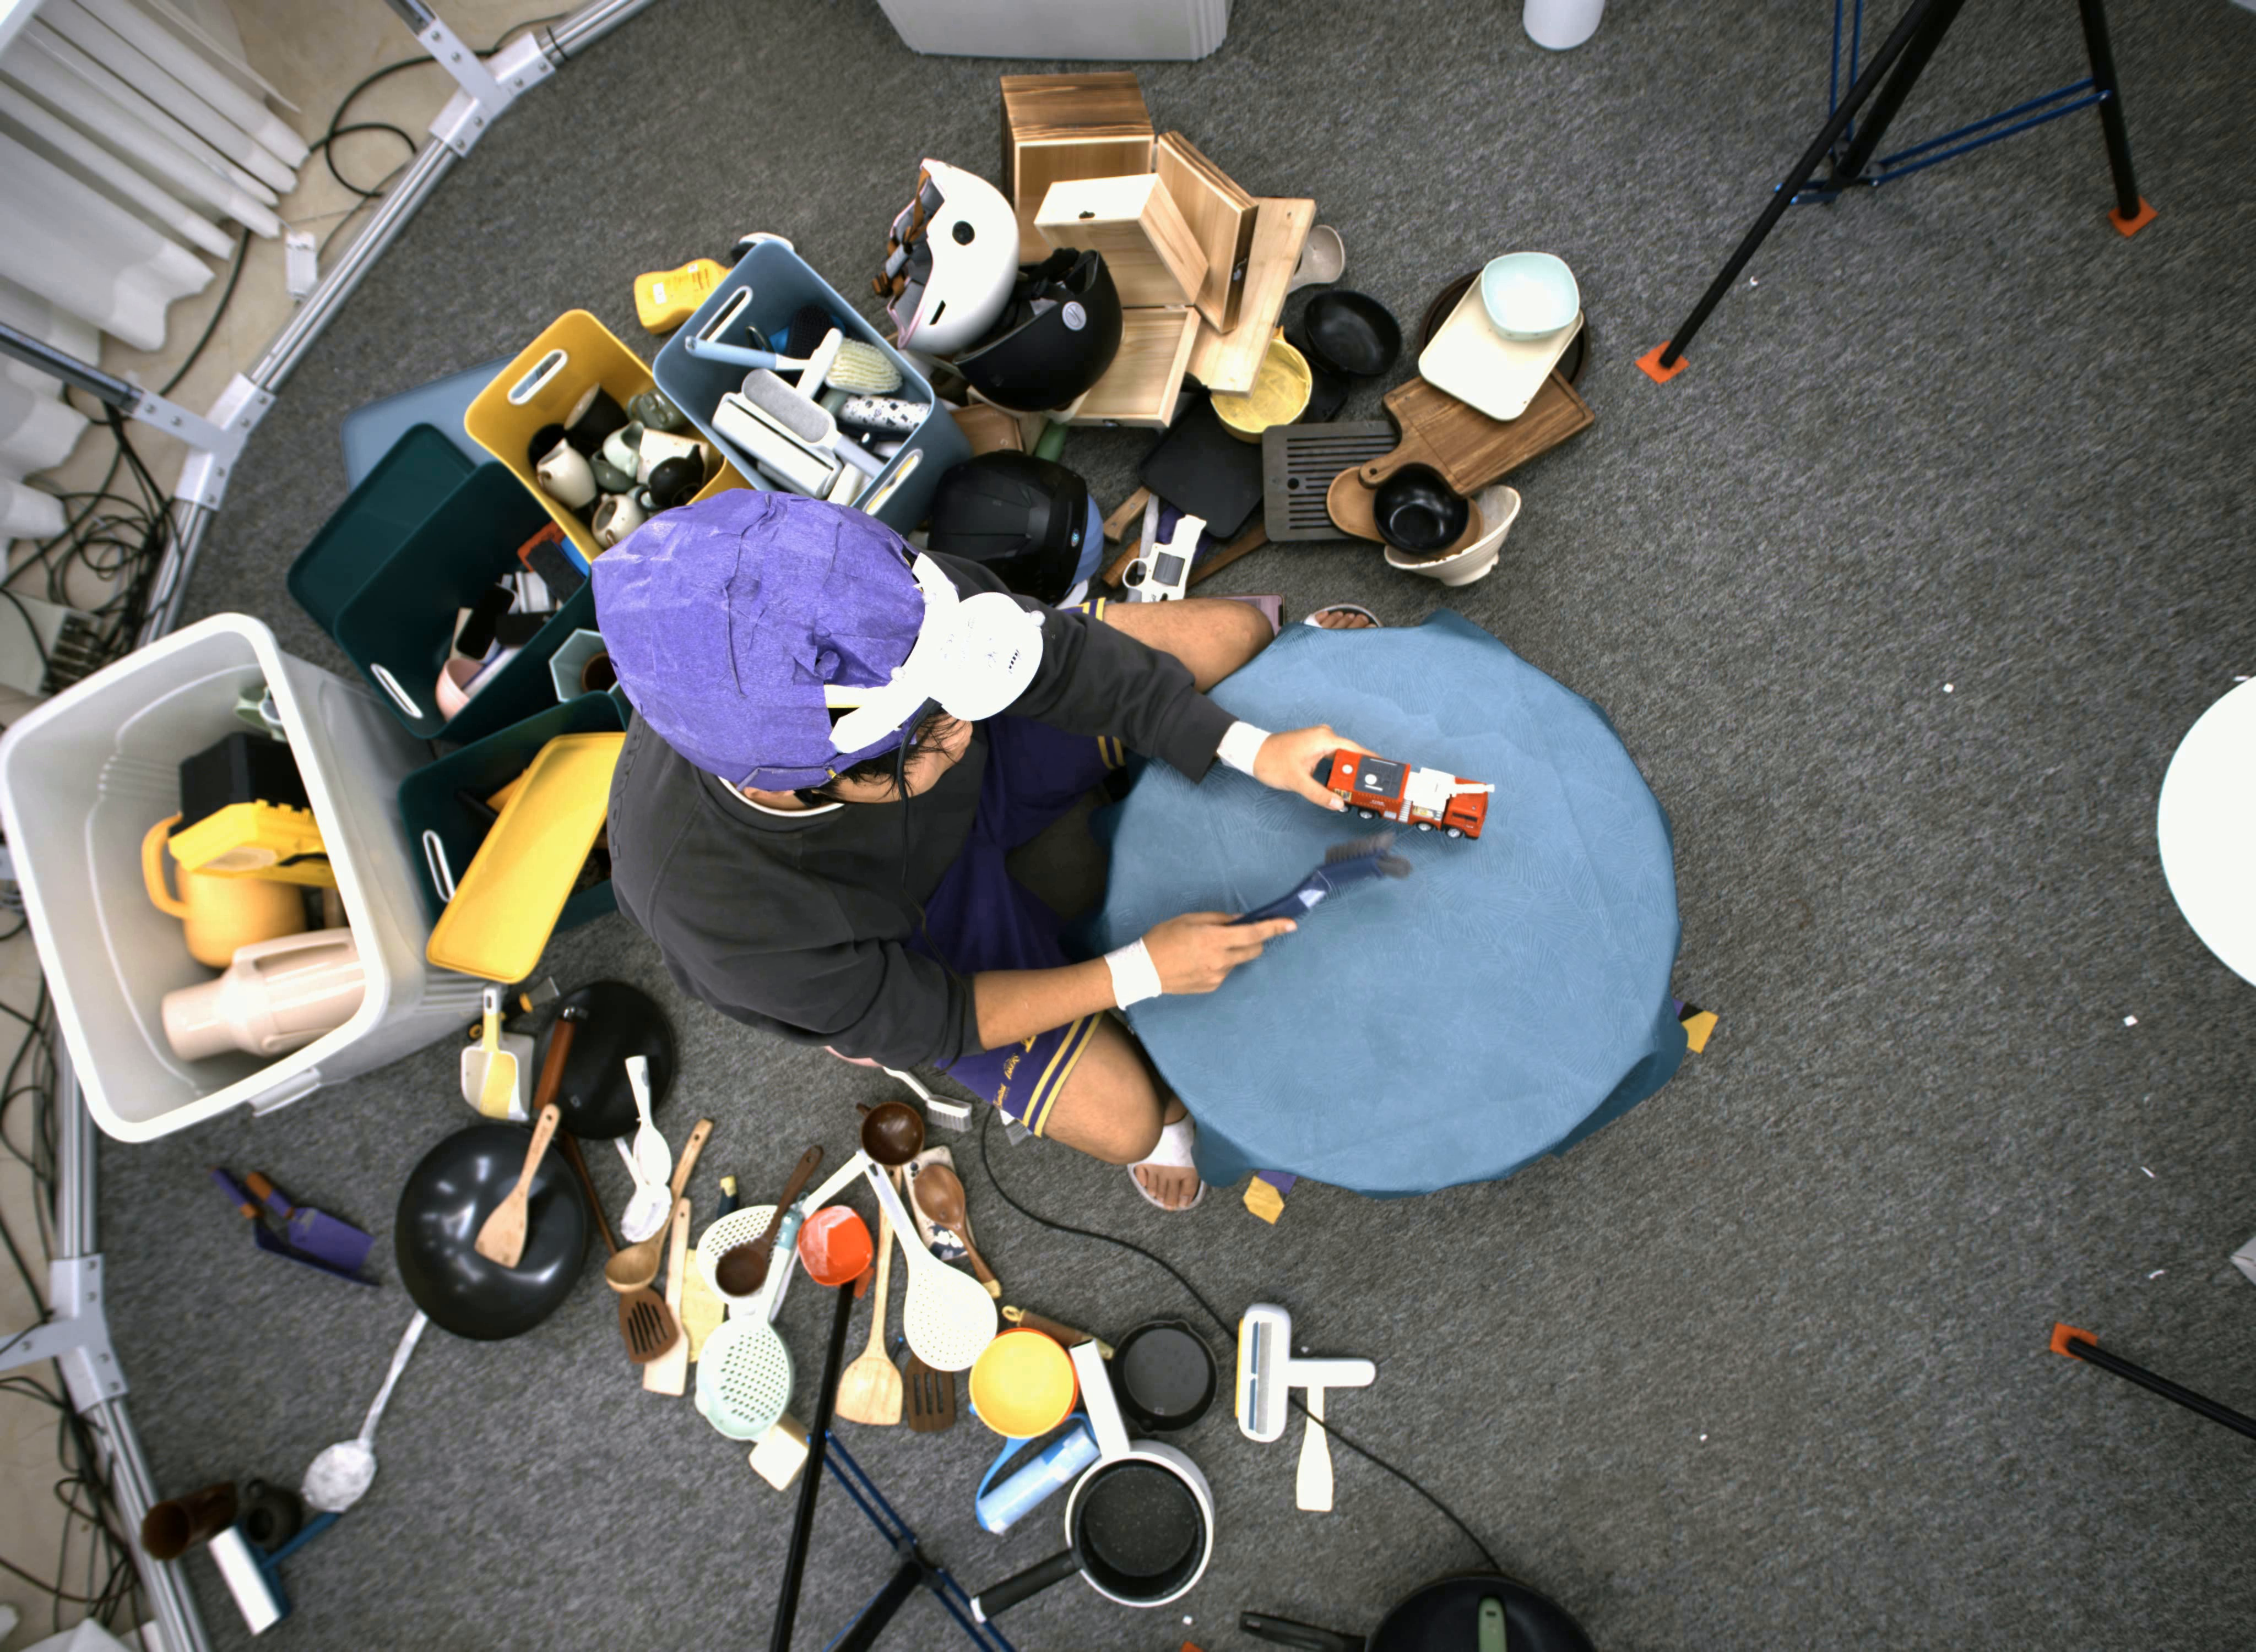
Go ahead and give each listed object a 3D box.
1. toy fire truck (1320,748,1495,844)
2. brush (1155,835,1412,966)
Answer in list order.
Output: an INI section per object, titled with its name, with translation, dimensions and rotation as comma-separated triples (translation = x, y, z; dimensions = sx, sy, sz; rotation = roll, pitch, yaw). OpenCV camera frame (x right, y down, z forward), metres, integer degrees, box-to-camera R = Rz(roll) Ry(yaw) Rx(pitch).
[toy fire truck]
translation = 0.279, -0.032, 1.381
dimensions = 0.168, 0.072, 0.053
rotation = 13, 62, 11
[brush]
translation = 0.152, 0.085, 1.396
dimensions = 0.276, 0.034, 0.093
rotation = -33, 37, 17
